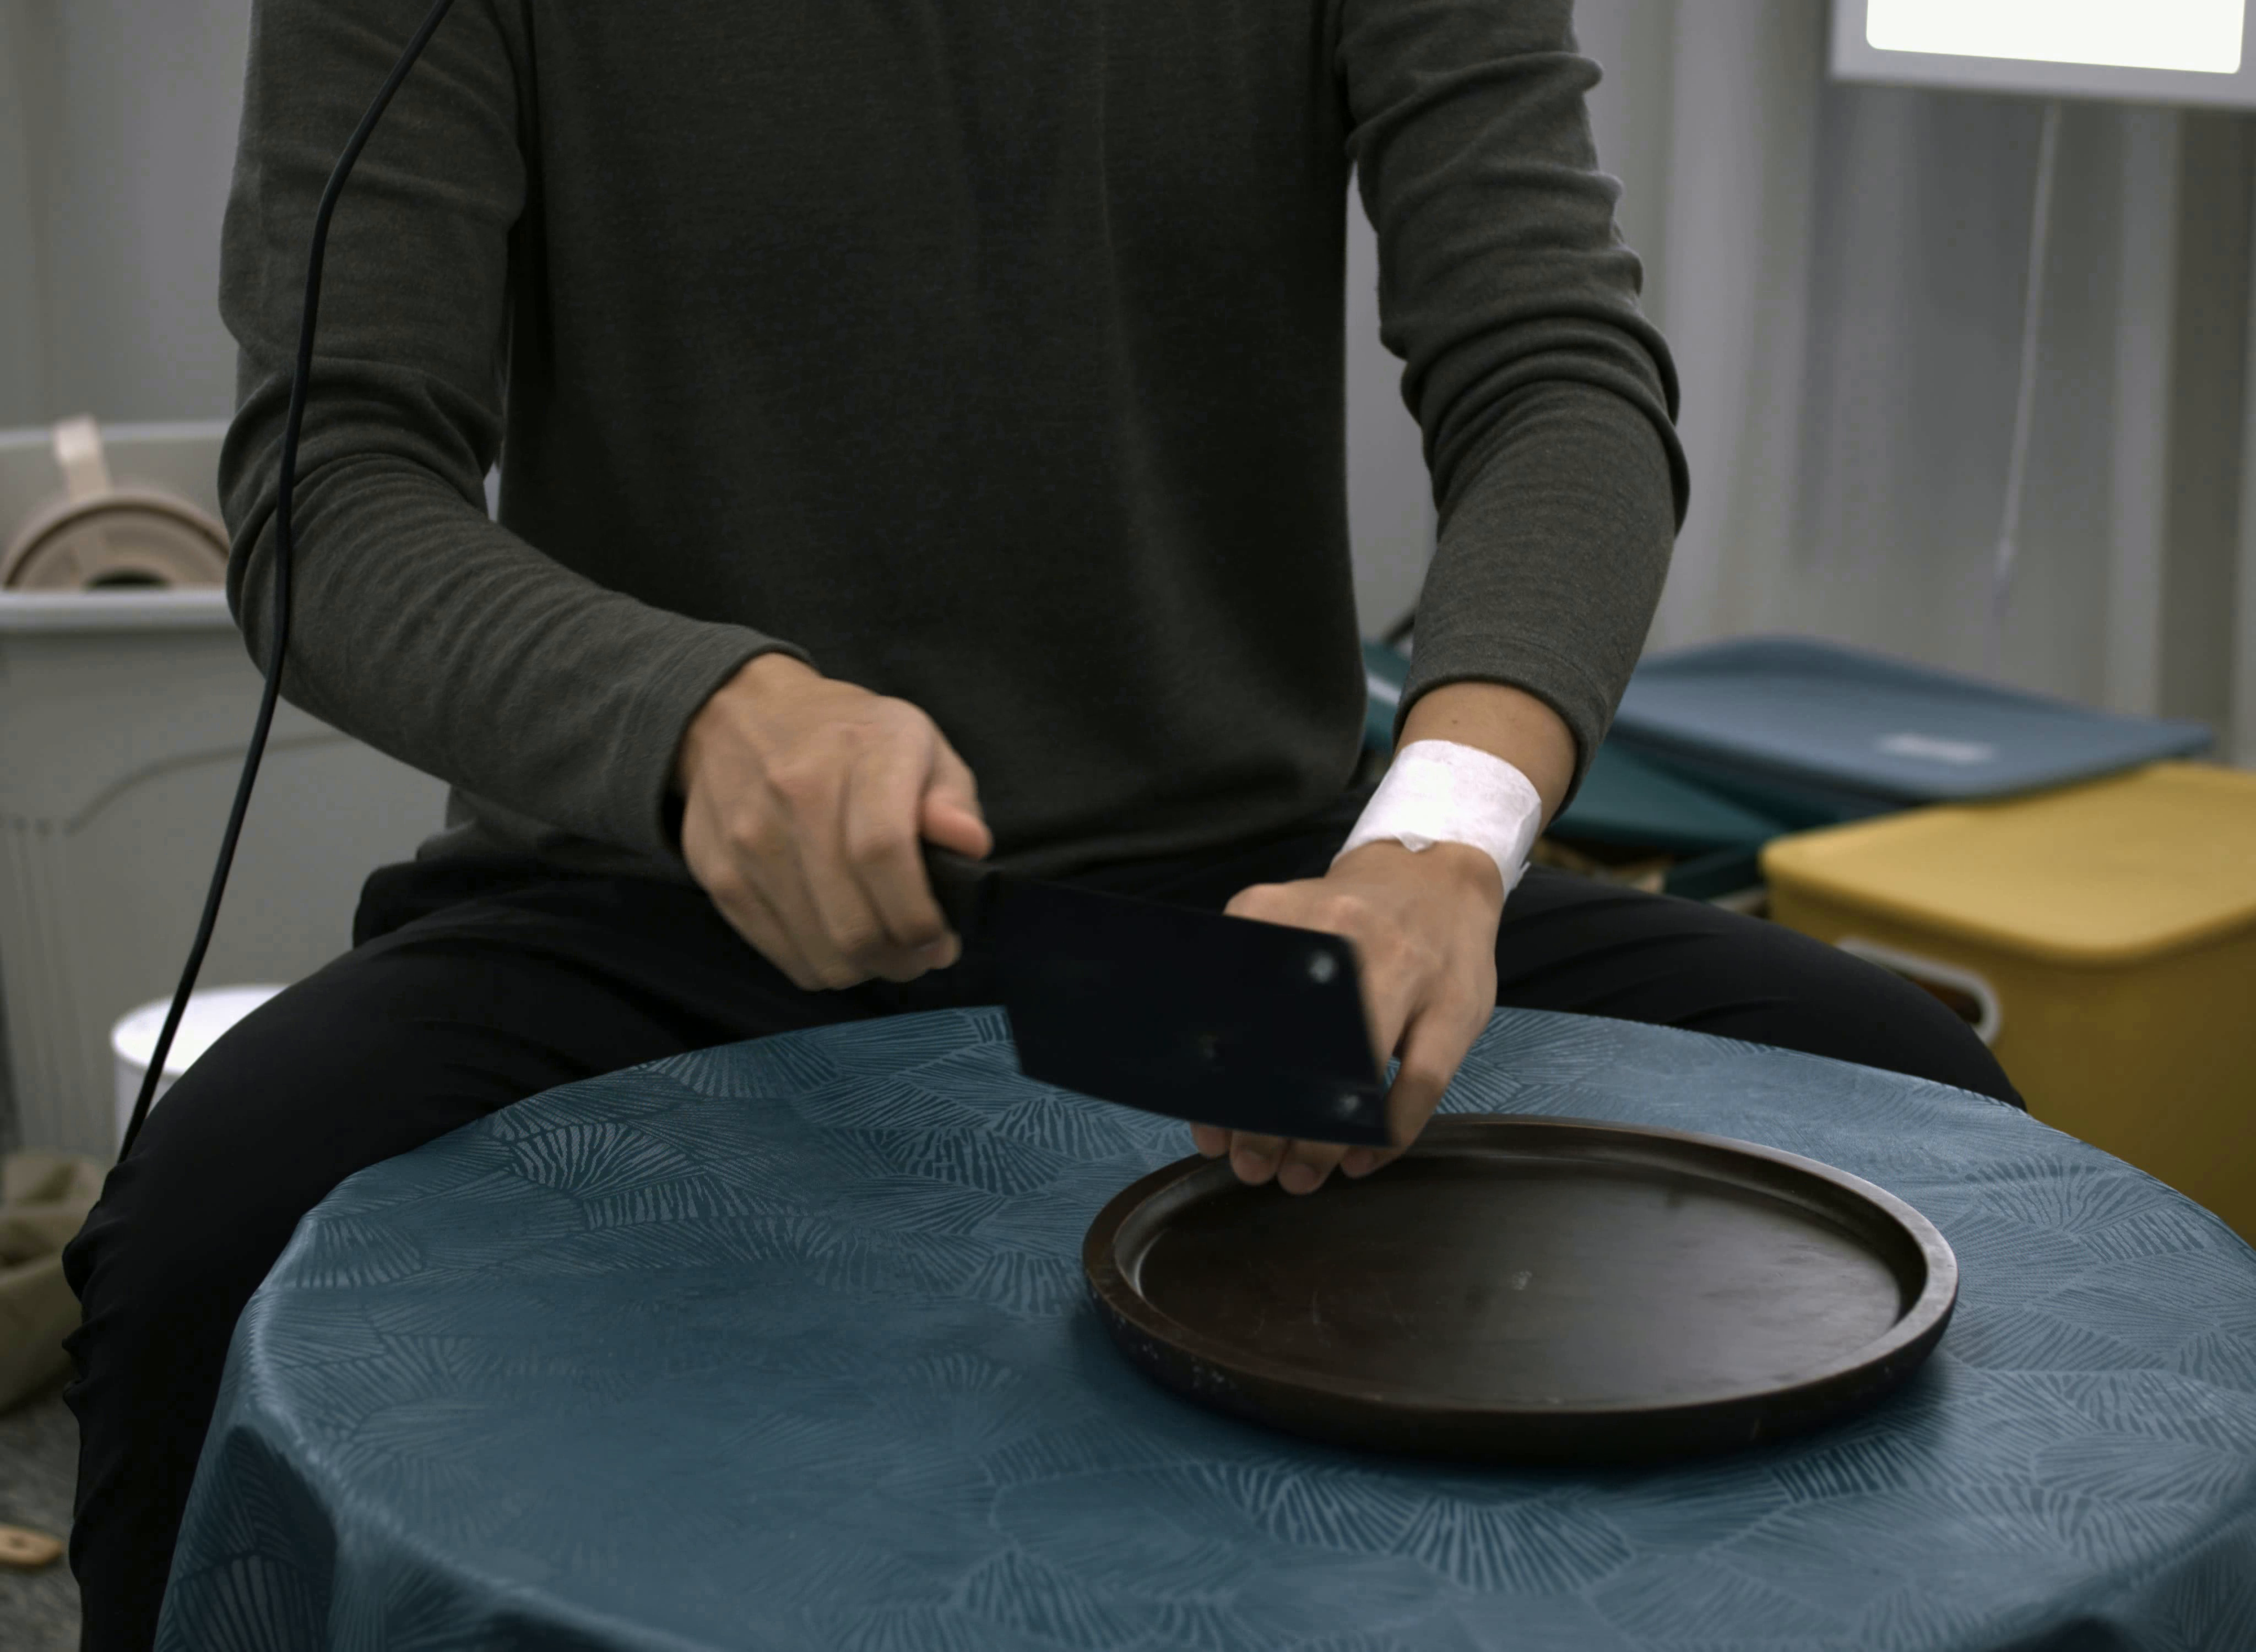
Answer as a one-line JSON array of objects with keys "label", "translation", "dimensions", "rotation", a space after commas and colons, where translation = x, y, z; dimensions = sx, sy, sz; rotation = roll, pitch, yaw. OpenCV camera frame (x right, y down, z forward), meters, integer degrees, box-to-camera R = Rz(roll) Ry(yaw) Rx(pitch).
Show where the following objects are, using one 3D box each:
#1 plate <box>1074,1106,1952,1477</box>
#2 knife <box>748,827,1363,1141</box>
[{"label": "plate", "translation": [0.110, 0.131, 1.517], "dimensions": [0.254, 0.029, 0.253], "rotation": [0, 16, 1]}, {"label": "knife", "translation": [-0.026, 0.040, 1.497], "dimensions": [0.021, 0.082, 0.298], "rotation": [-21, 21, -31]}]
